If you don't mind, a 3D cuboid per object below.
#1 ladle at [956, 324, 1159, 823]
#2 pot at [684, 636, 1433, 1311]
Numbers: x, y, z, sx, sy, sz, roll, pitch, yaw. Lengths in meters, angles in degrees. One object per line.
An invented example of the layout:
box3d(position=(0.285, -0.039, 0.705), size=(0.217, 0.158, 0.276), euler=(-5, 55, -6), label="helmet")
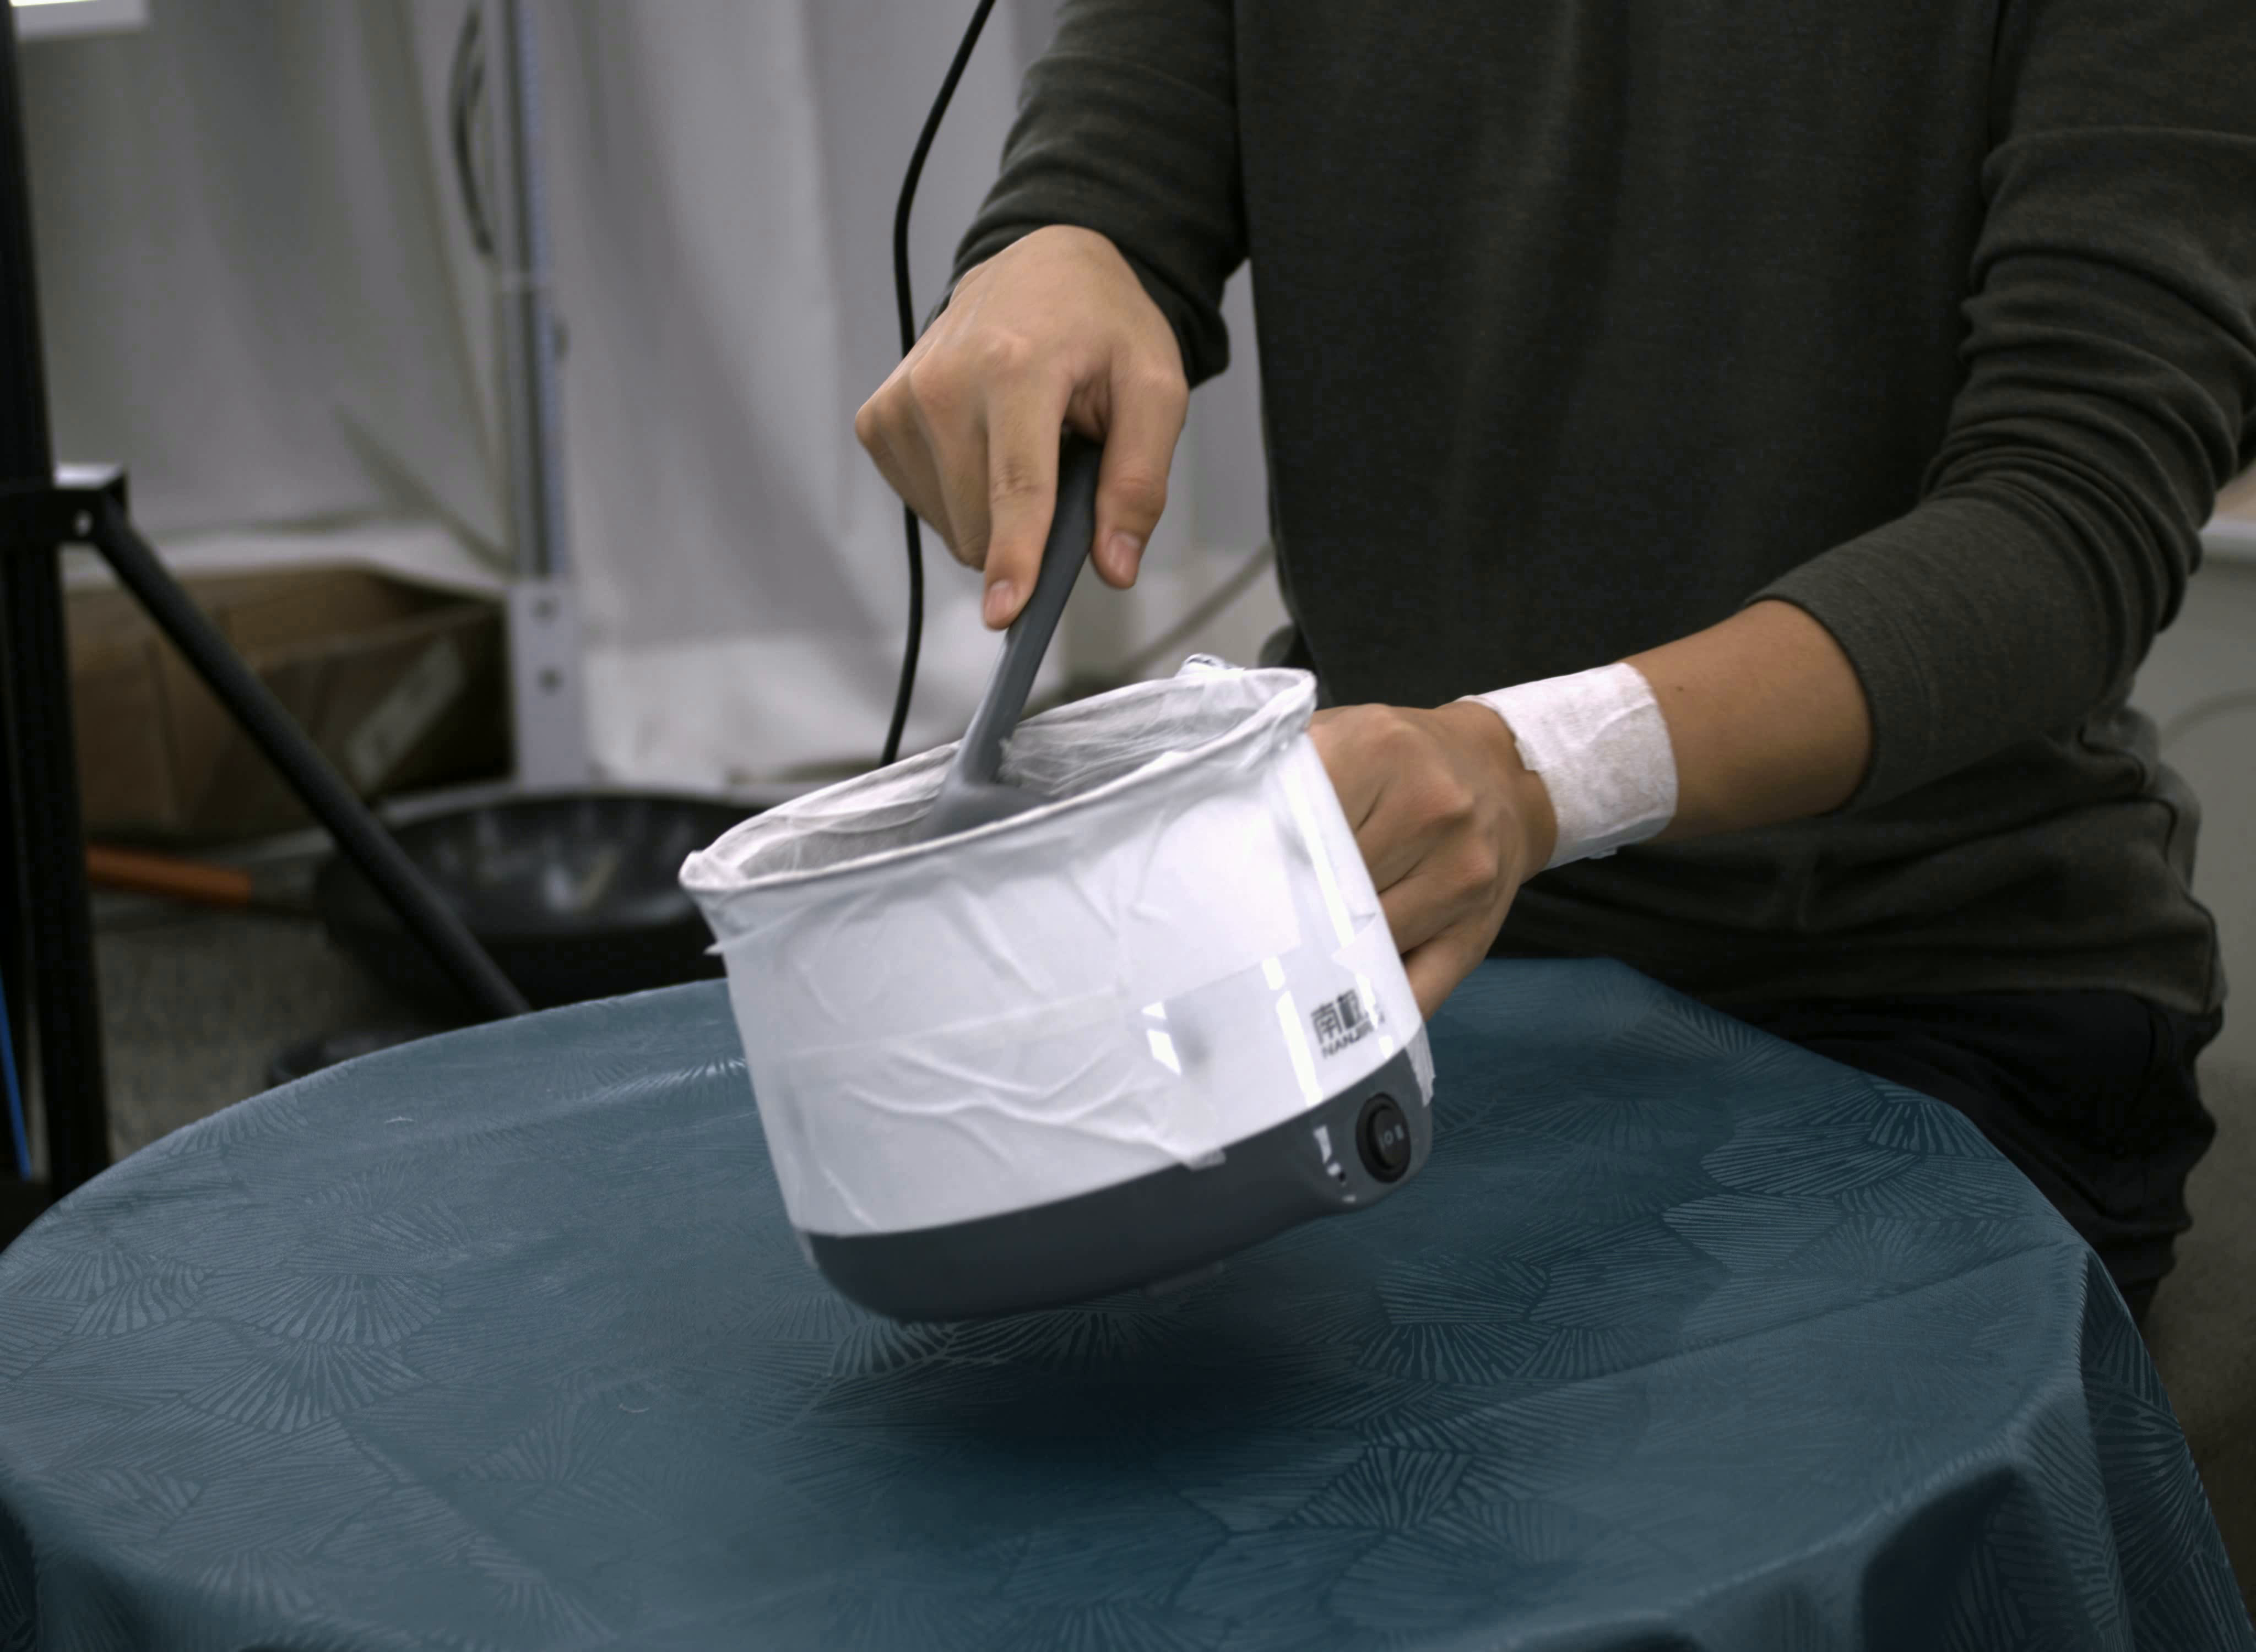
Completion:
box3d(position=(-0.002, -0.051, 1.522), size=(0.087, 0.063, 0.315), euler=(-43, 18, 30), label="ladle")
box3d(position=(0.000, 0.034, 1.433), size=(0.182, 0.136, 0.229), euler=(-9, 12, 37), label="pot")
